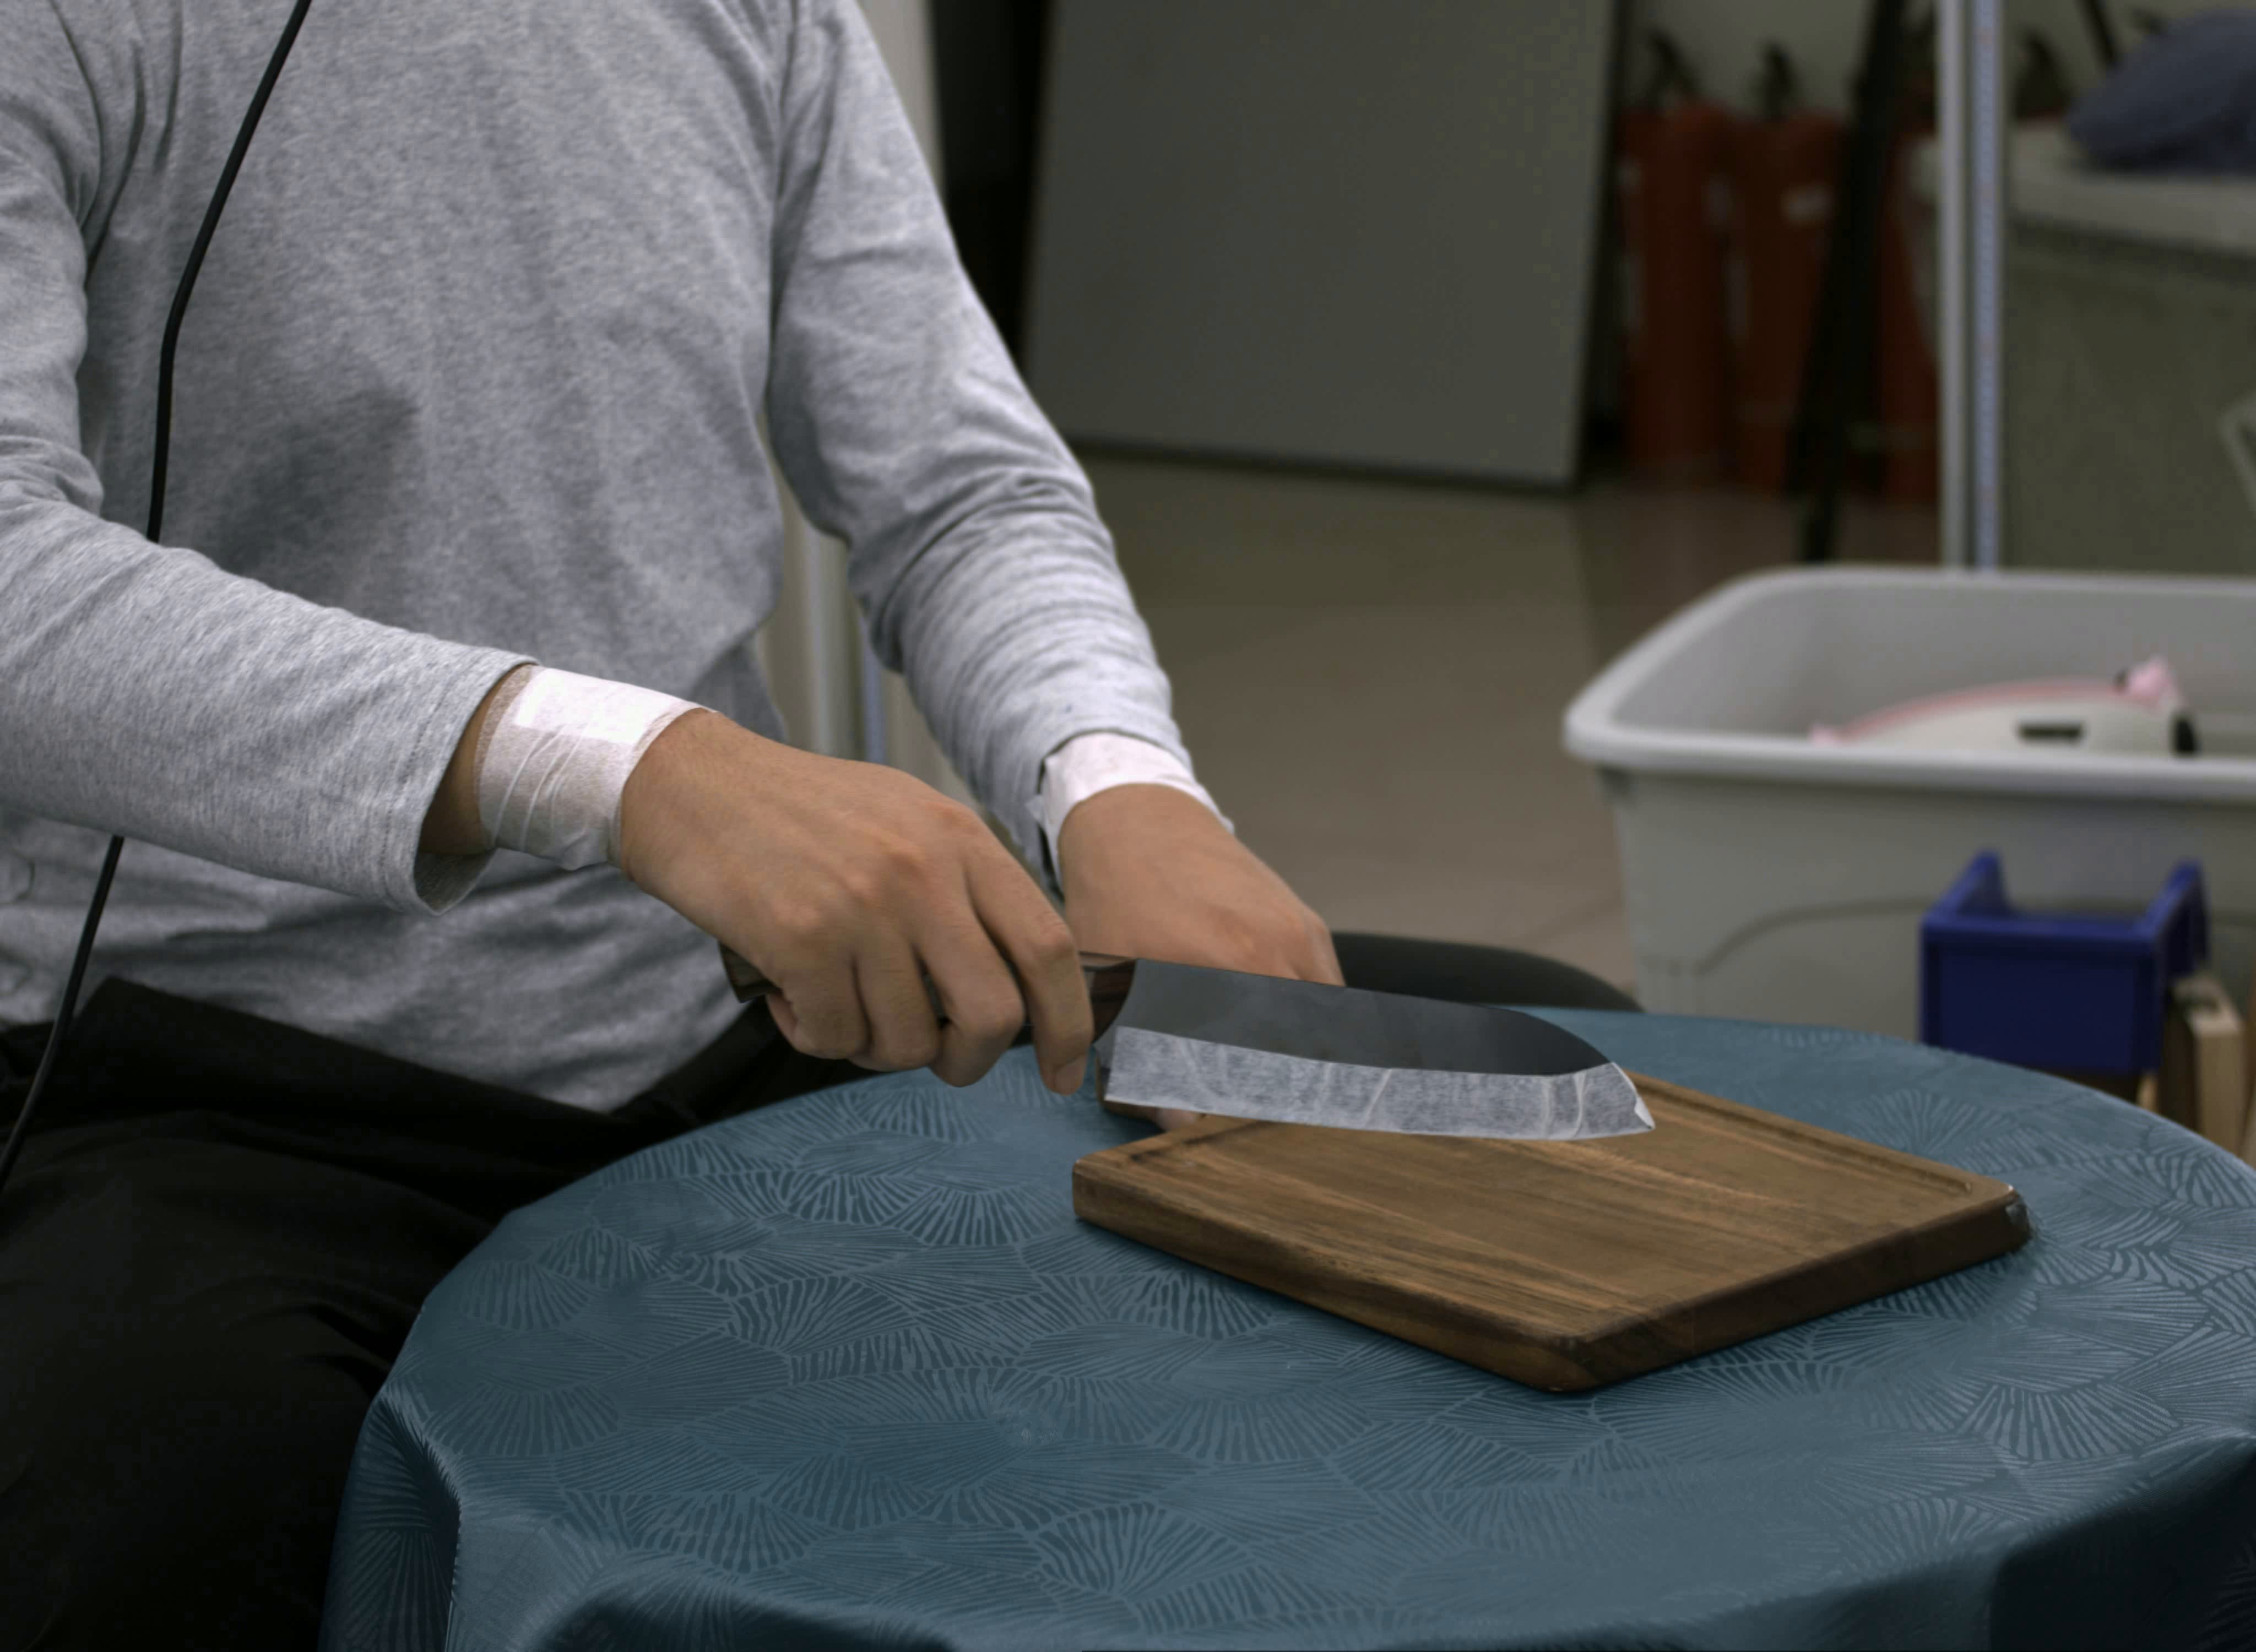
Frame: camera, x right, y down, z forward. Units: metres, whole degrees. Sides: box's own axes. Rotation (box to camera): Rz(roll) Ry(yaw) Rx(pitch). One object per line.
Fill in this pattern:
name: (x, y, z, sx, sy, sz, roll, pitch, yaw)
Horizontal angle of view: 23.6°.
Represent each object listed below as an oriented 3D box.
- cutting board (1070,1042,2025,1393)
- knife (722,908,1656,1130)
cutting board: (0.101, 0.112, 1.742, 0.196, 0.023, 0.356, -13, 16, -34)
knife: (0.019, 0.059, 1.613, 0.285, 0.051, 0.020, 10, 5, -1)
